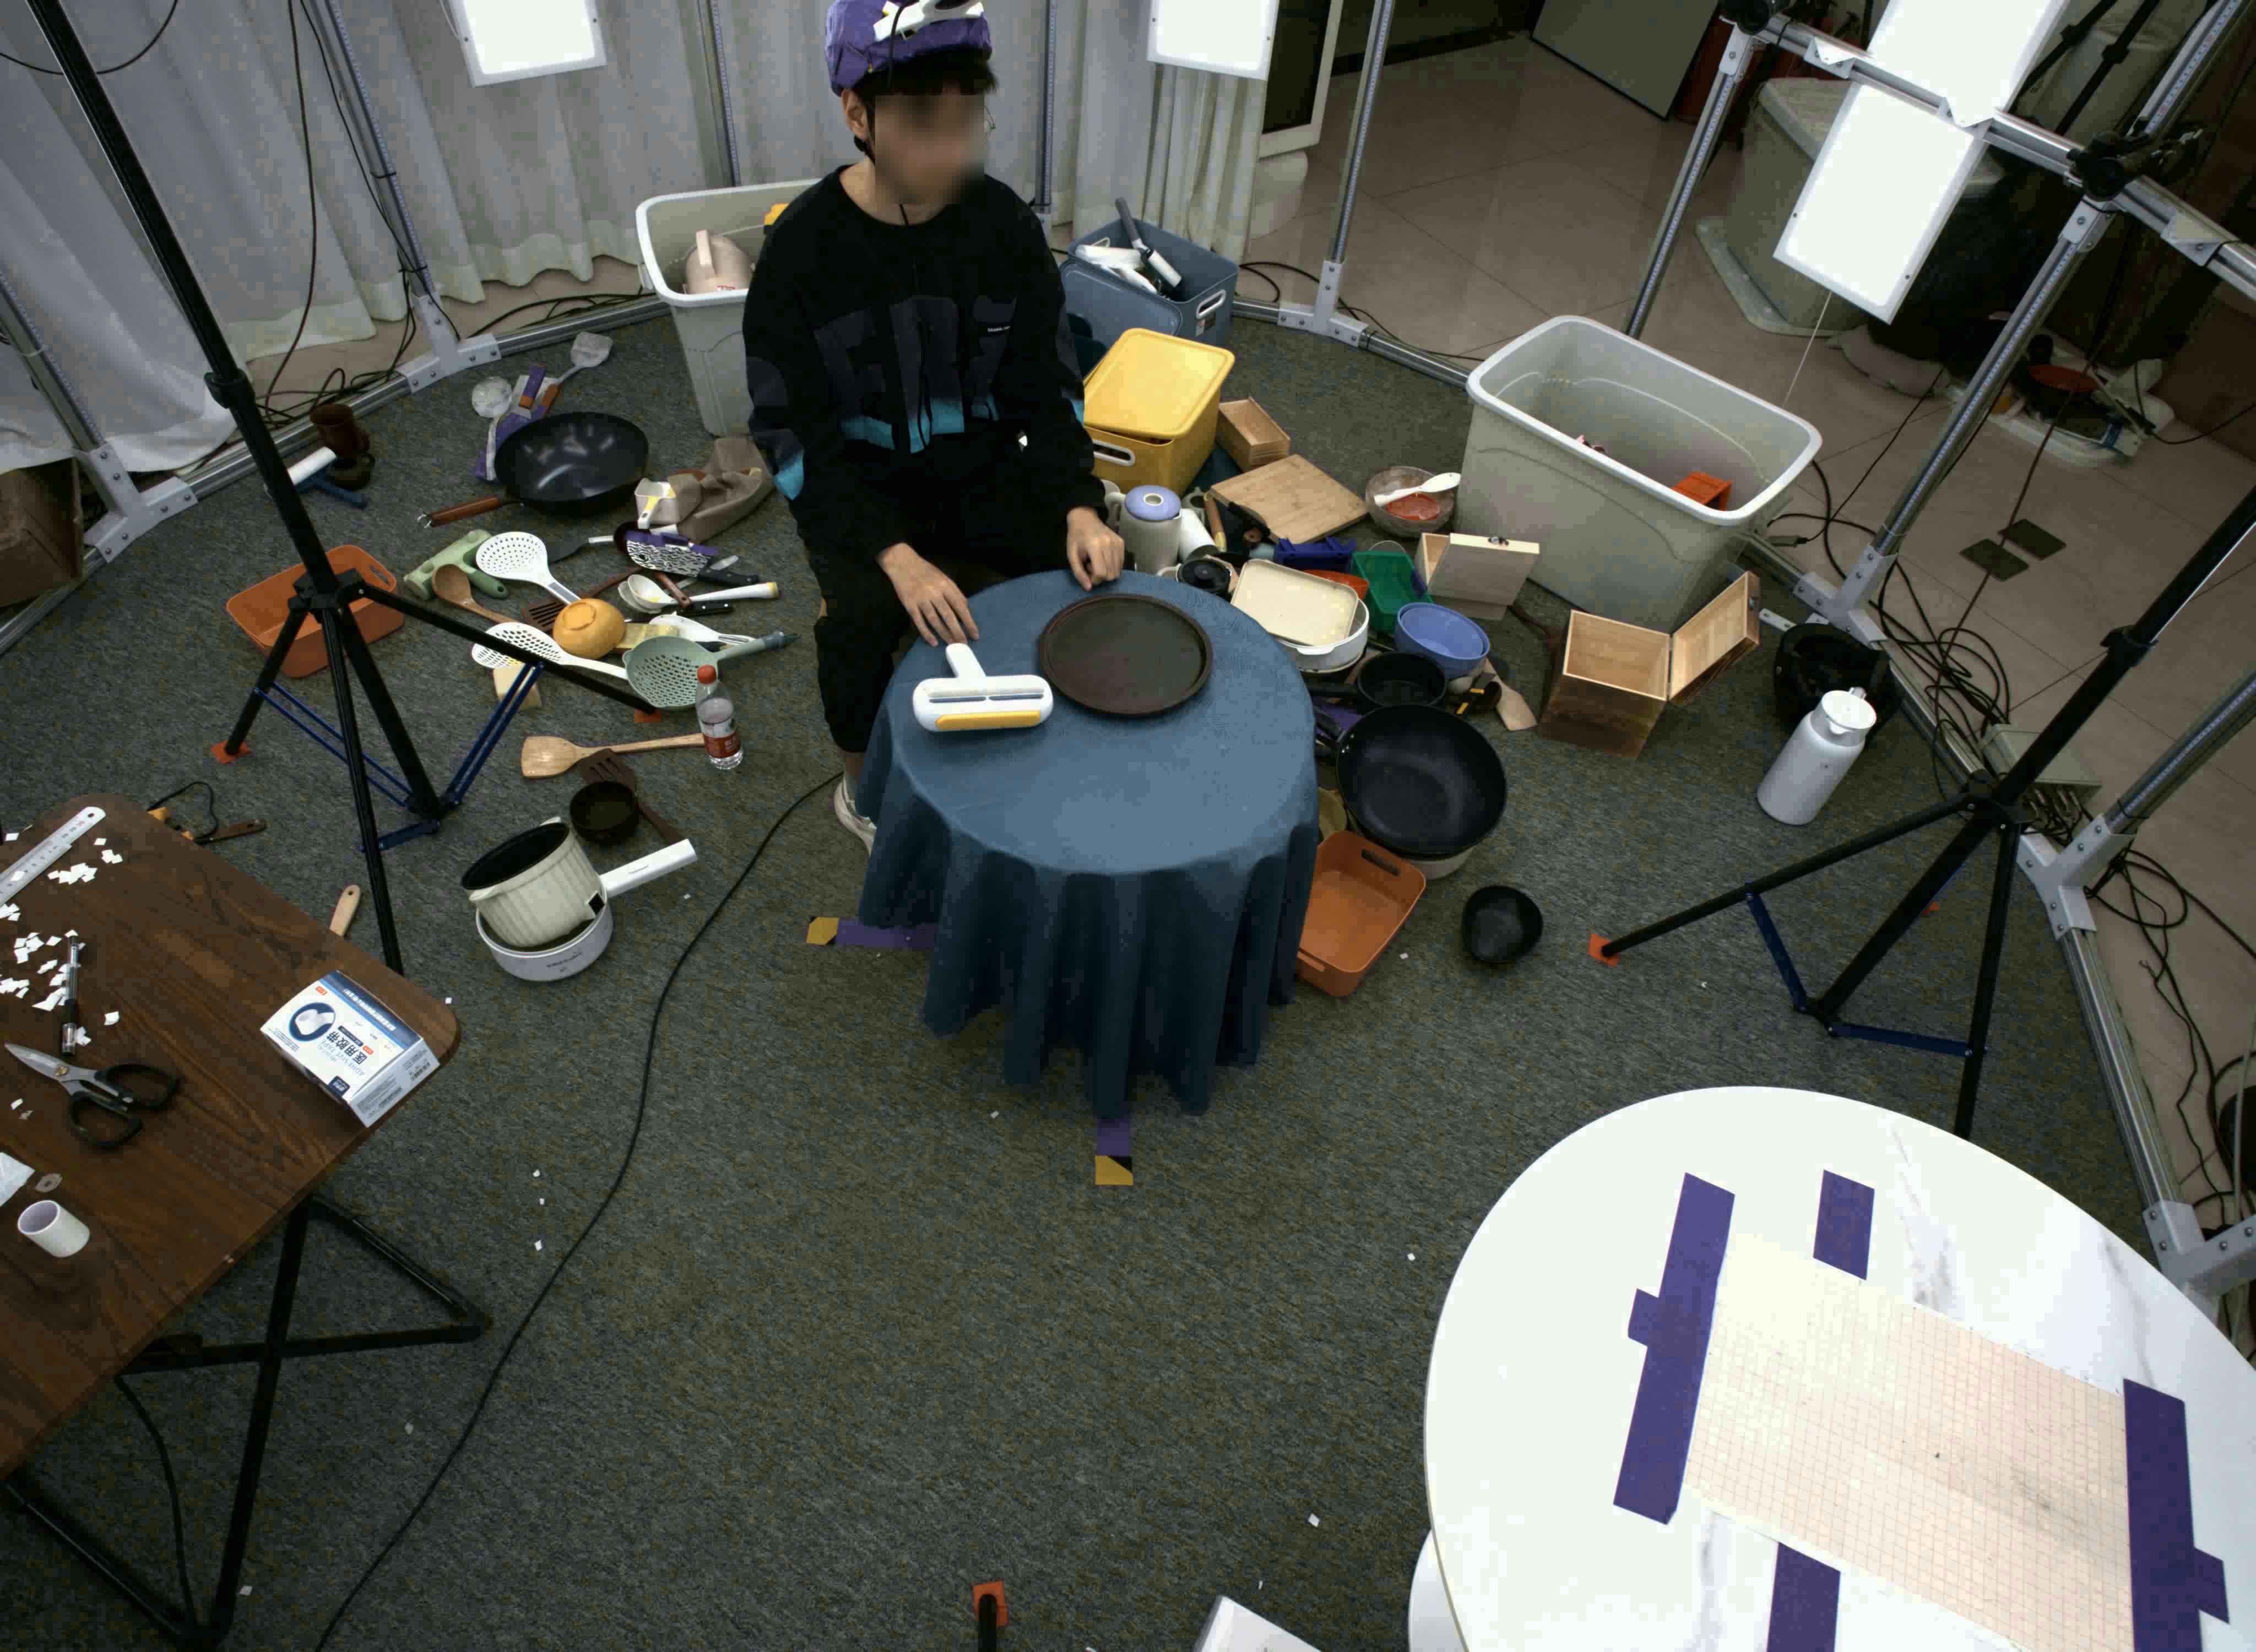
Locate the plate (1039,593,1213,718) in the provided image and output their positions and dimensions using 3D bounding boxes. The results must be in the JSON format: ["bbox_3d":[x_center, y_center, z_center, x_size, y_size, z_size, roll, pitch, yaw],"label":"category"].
[{"bbox_3d":[-0.003,-0.249,1.869,0.254,0.028,0.261,1,48,-2],"label":"plate"}]

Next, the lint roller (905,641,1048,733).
[{"bbox_3d":[-0.218,-0.205,1.788,0.192,0.072,0.197,-5,48,-15],"label":"lint roller"}]
